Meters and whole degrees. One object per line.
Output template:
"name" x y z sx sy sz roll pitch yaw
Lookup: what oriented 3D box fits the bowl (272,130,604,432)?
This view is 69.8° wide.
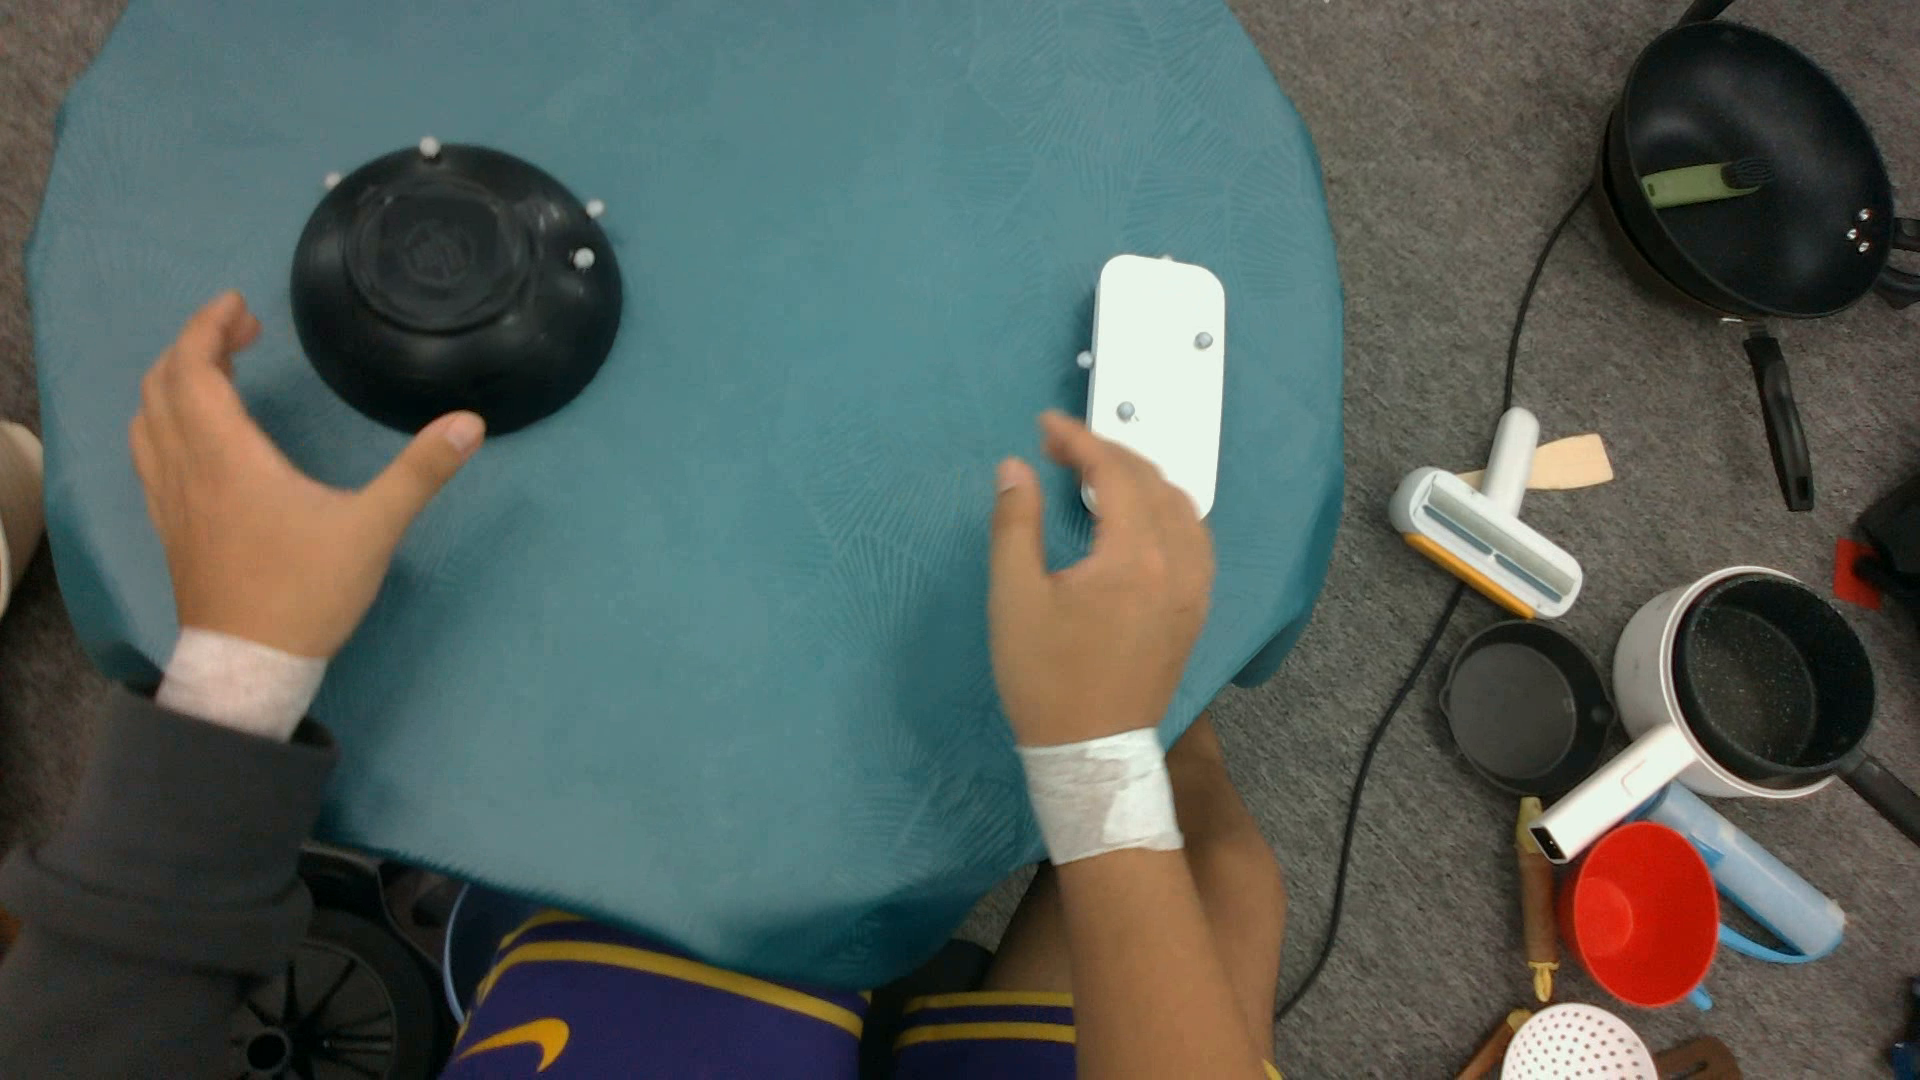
"bowl" -0.225 -0.119 0.590 0.140 0.049 0.140 3 75 -11

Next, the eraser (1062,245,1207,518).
"eraser" 0.081 -0.076 0.649 0.063 0.034 0.131 9 73 -7
